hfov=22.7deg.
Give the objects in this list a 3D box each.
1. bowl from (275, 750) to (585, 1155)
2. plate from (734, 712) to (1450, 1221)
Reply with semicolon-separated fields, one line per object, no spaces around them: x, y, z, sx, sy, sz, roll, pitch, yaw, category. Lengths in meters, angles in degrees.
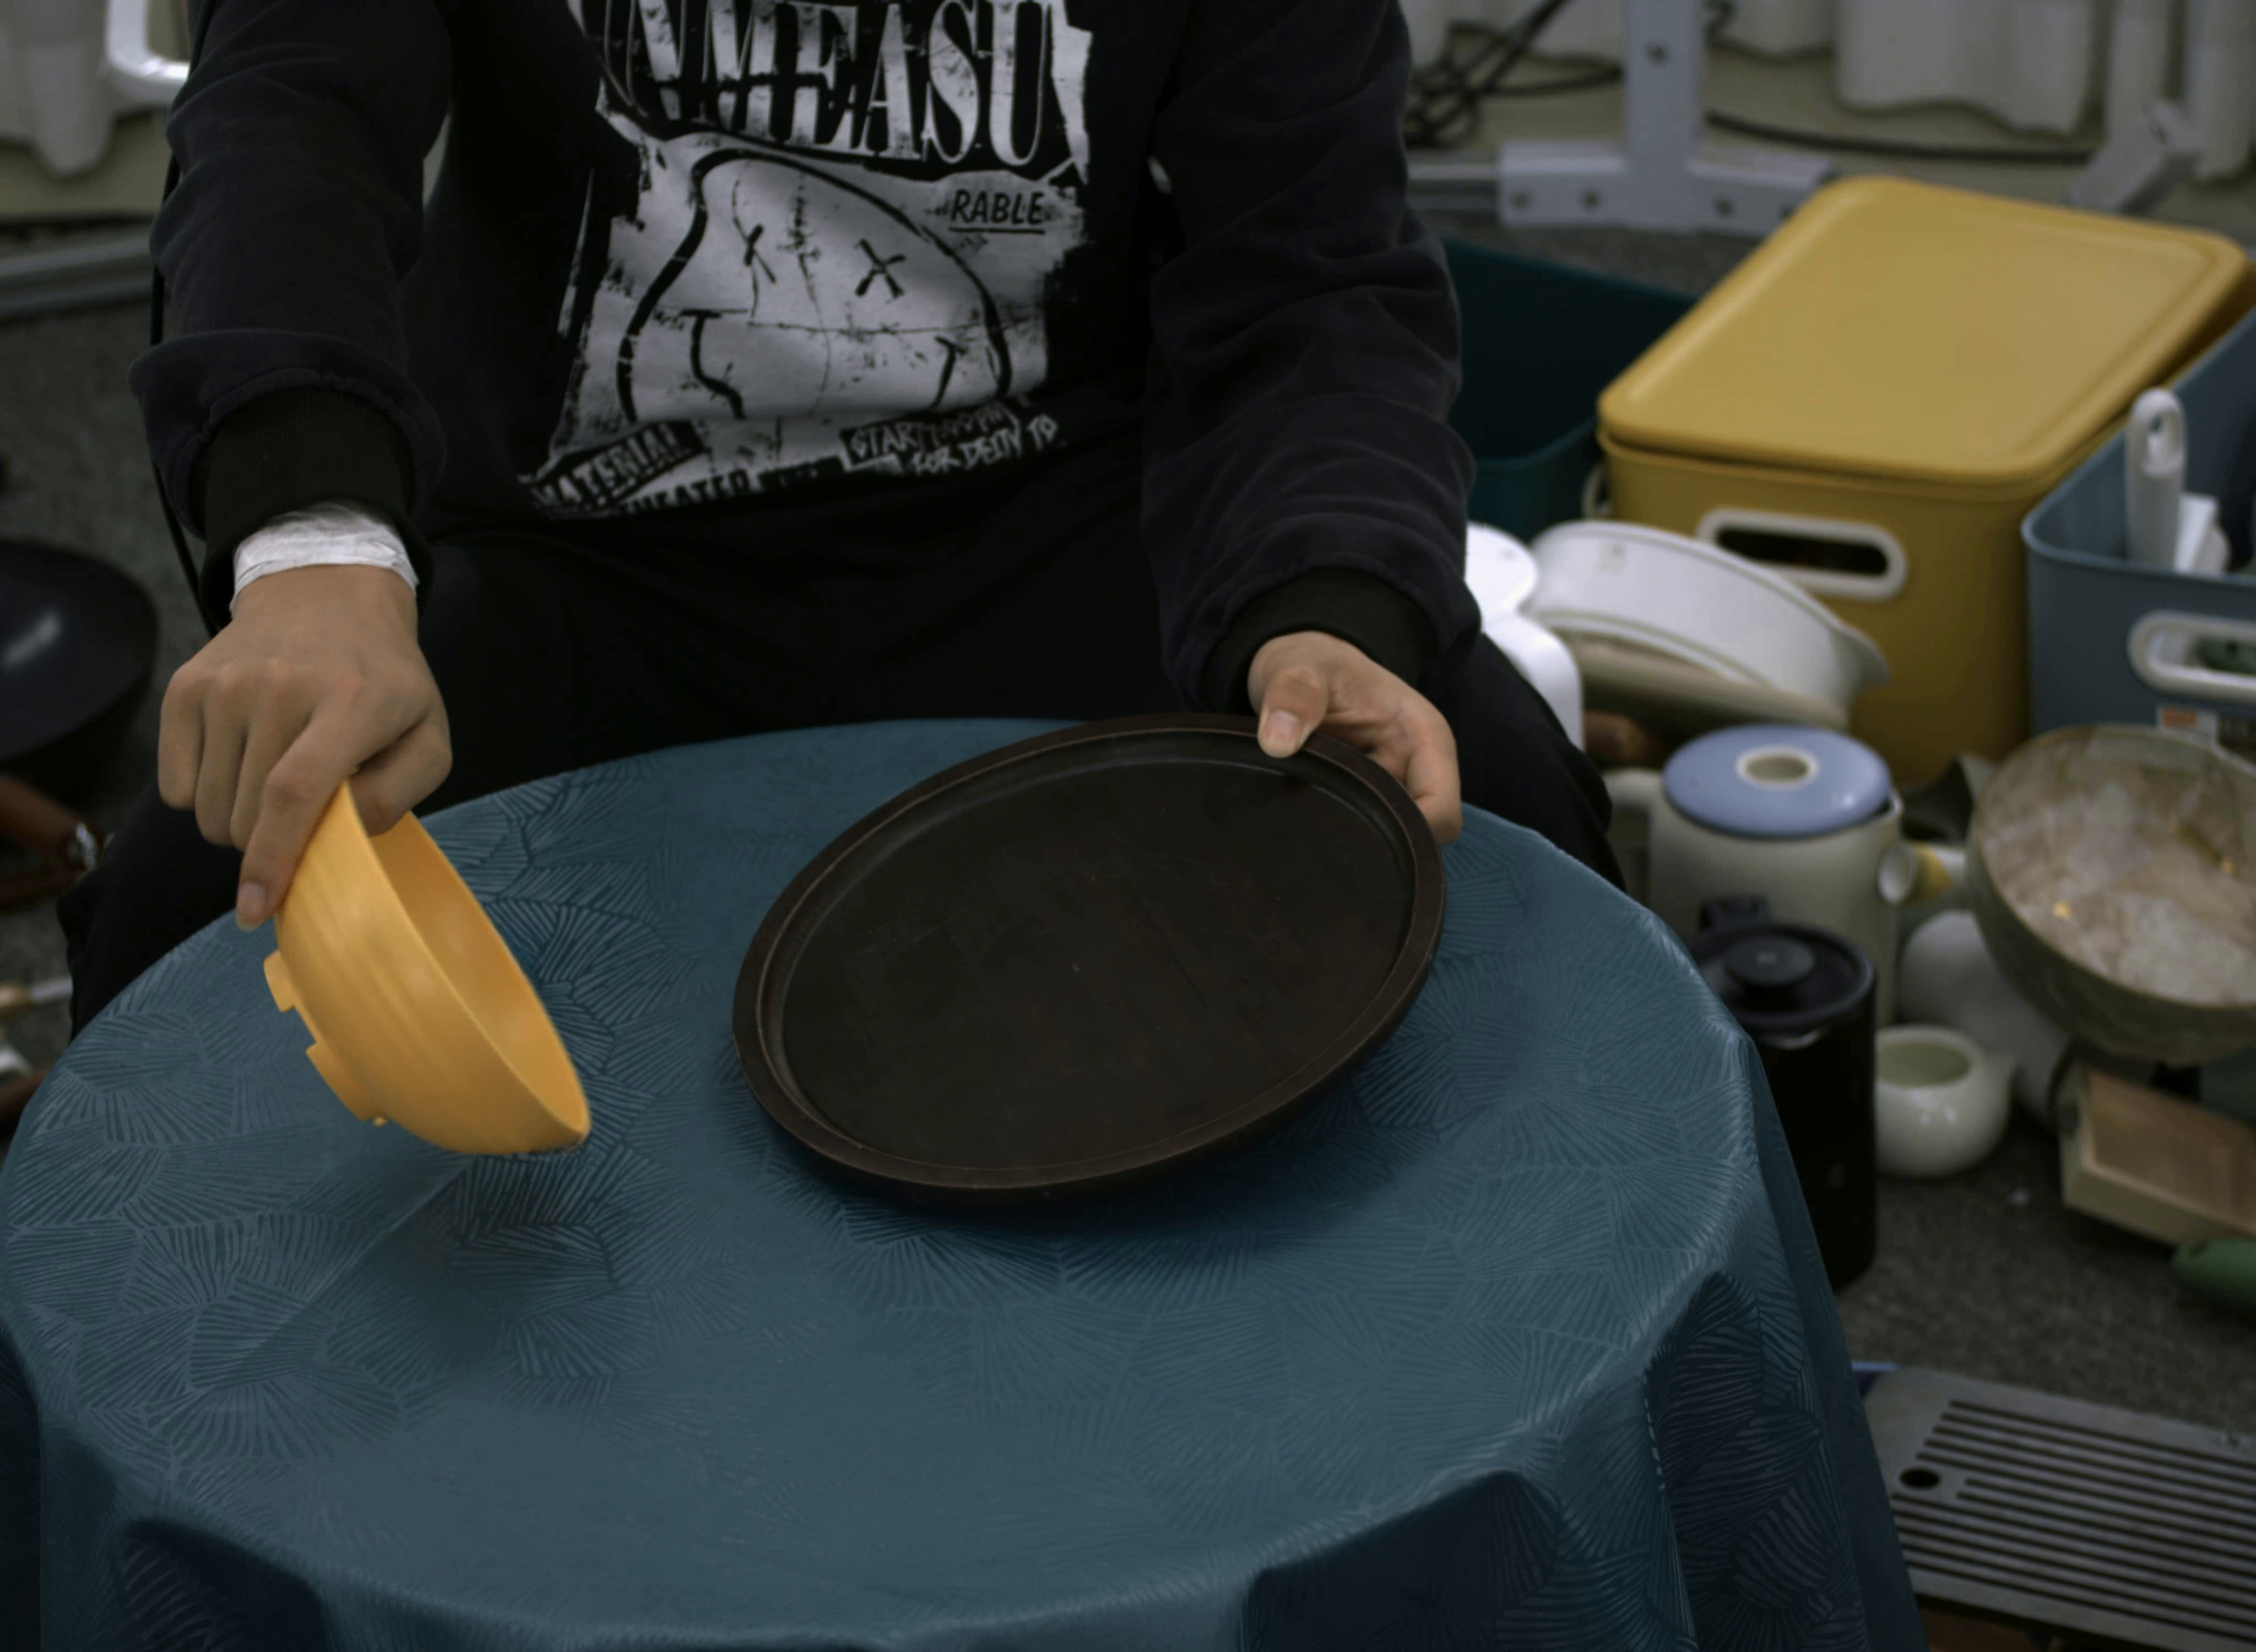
-0.237;0.053;1.833;0.060;0.144;0.147;-29;29;2;bowl
-0.012;0.047;1.927;0.253;0.029;0.259;-12;35;9;plate
